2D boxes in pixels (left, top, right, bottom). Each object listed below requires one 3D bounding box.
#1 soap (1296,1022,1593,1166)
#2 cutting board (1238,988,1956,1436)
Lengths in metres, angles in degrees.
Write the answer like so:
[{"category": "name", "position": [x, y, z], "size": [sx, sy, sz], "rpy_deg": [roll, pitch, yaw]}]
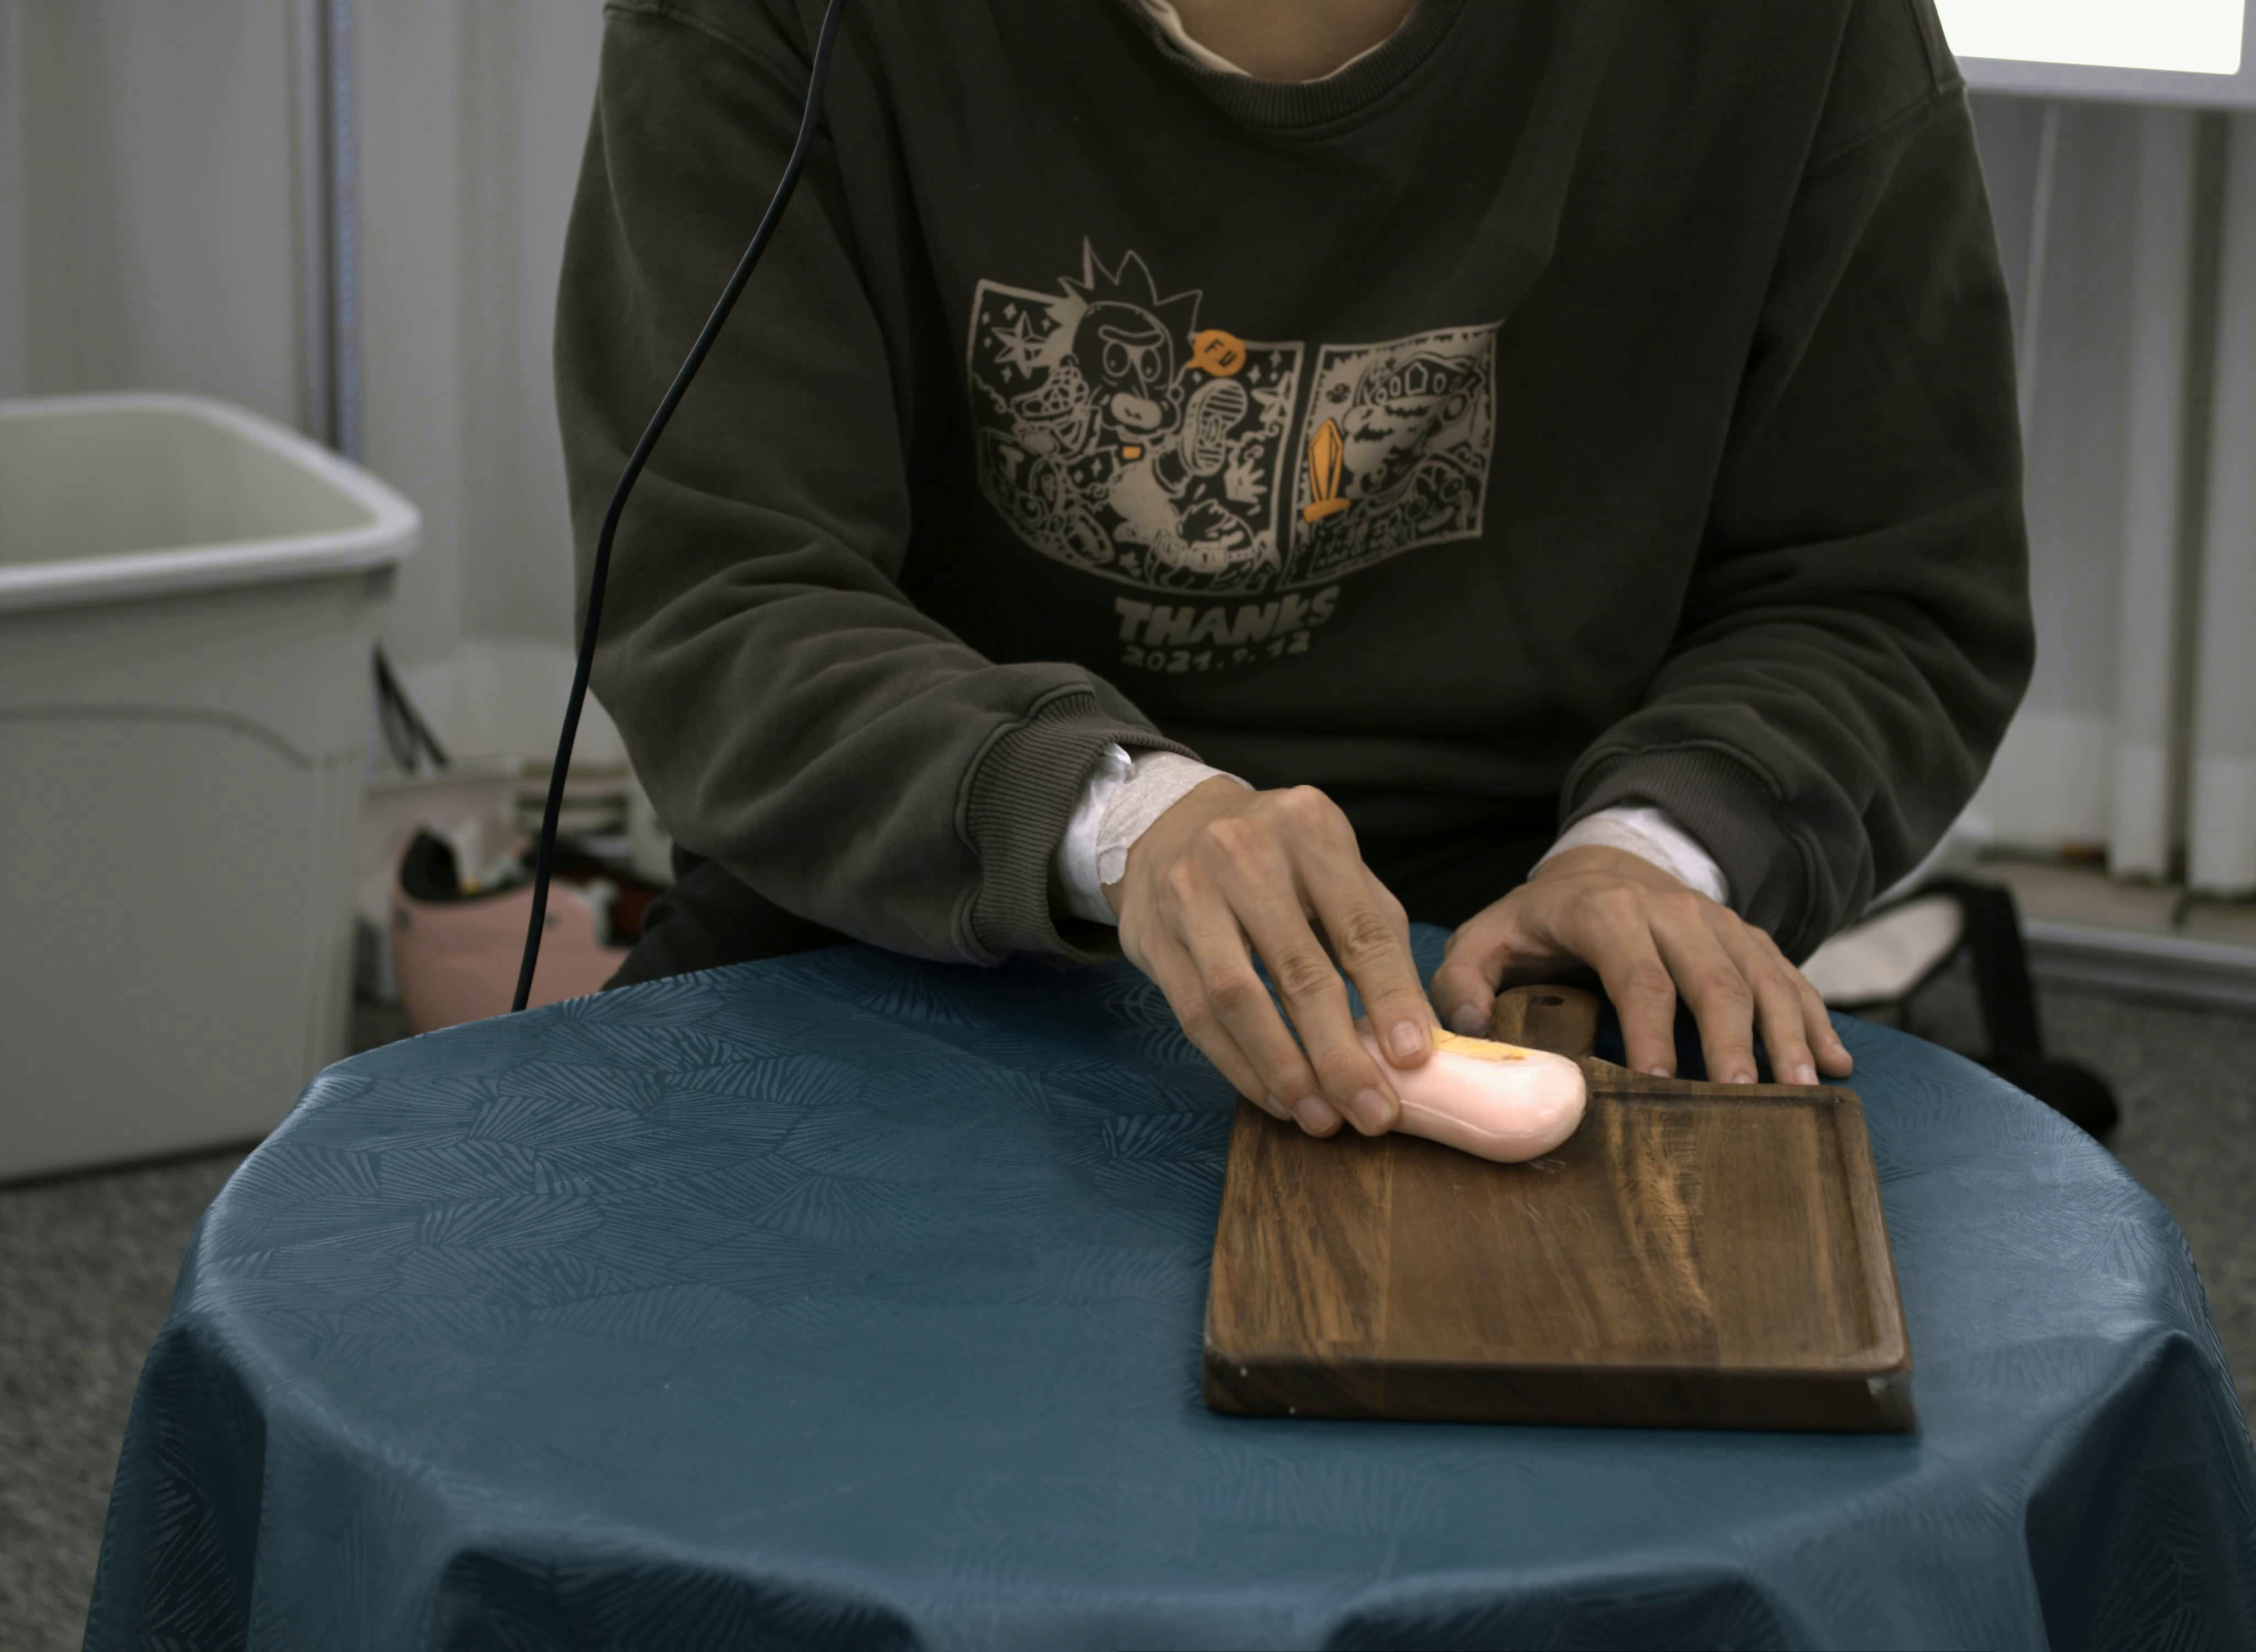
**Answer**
[{"category": "soap", "position": [0.098, 0.082, 1.631], "size": [0.093, 0.030, 0.050], "rpy_deg": [12, 20, 35]}, {"category": "cutting board", "position": [0.140, 0.110, 1.605], "size": [0.200, 0.023, 0.351], "rpy_deg": [2, 15, 4]}]
